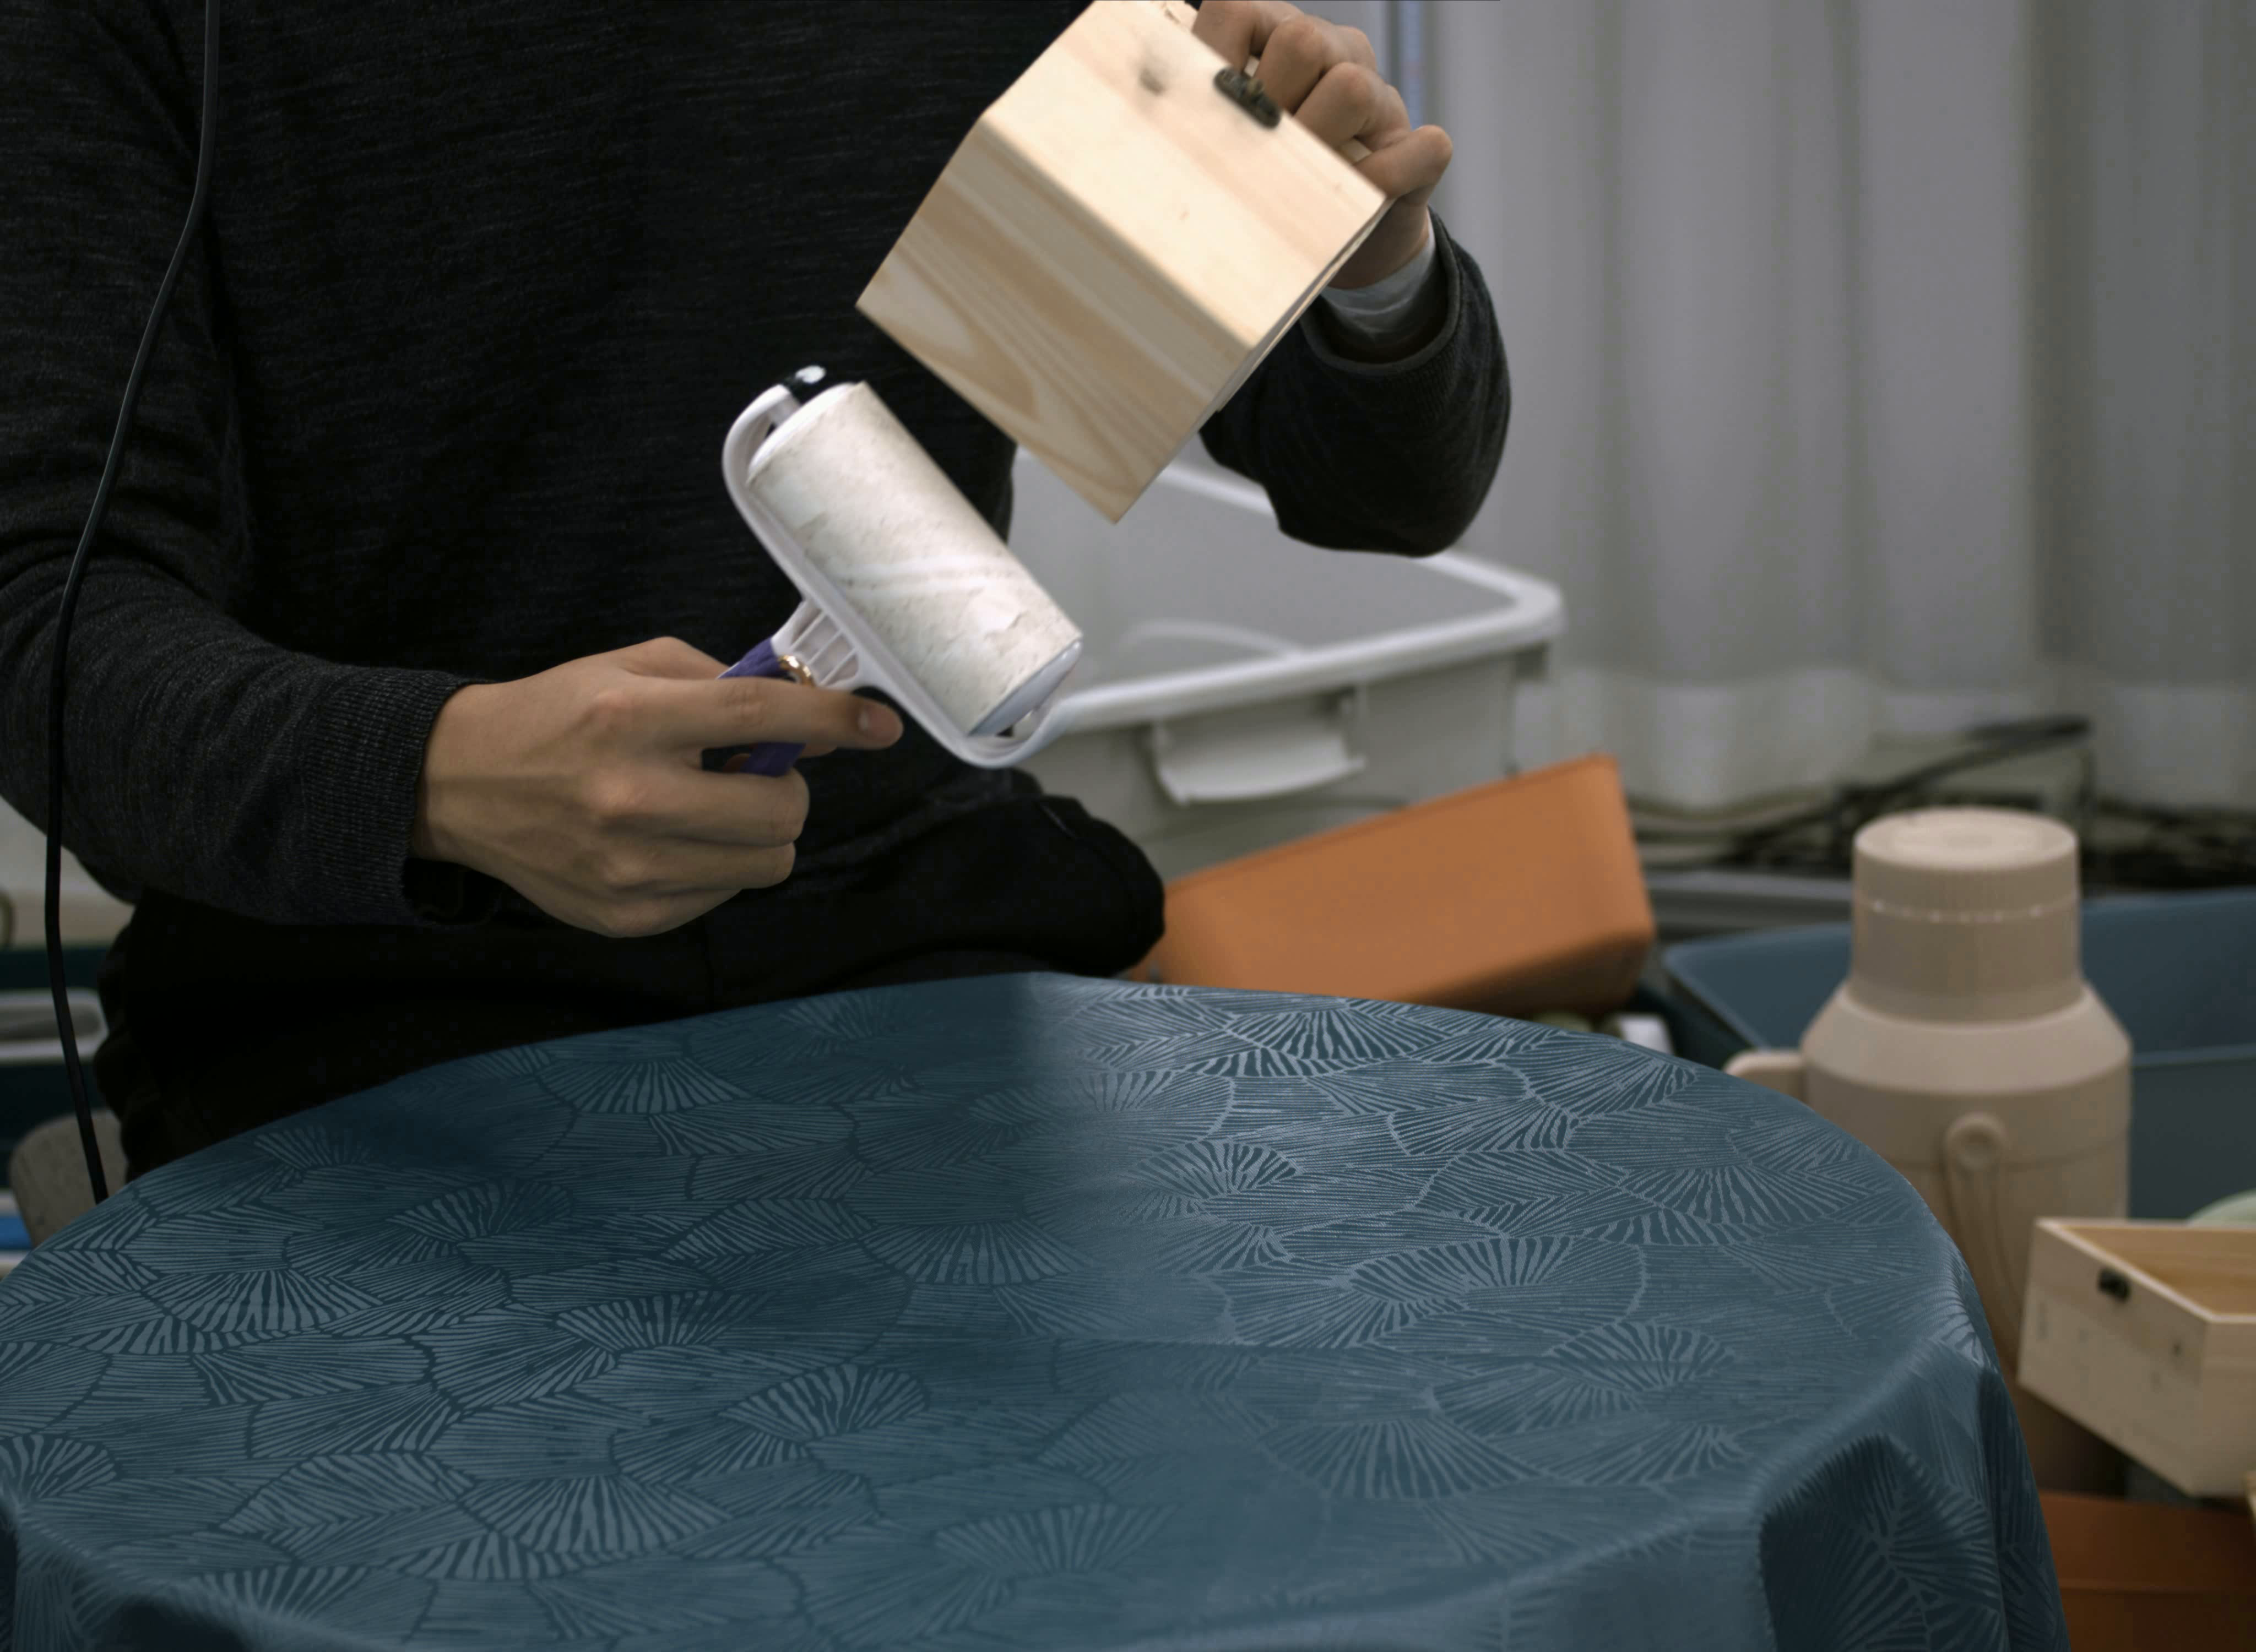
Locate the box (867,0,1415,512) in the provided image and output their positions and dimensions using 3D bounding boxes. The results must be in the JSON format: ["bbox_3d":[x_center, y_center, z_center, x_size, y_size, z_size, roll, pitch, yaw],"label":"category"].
[{"bbox_3d":[0.022,-0.197,1.632,0.186,0.102,0.133,-49,-1,-39],"label":"box"}]

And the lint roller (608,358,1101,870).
[{"bbox_3d":[-0.104,-0.043,1.633,0.180,0.133,0.050,-41,-2,25],"label":"lint roller"}]
